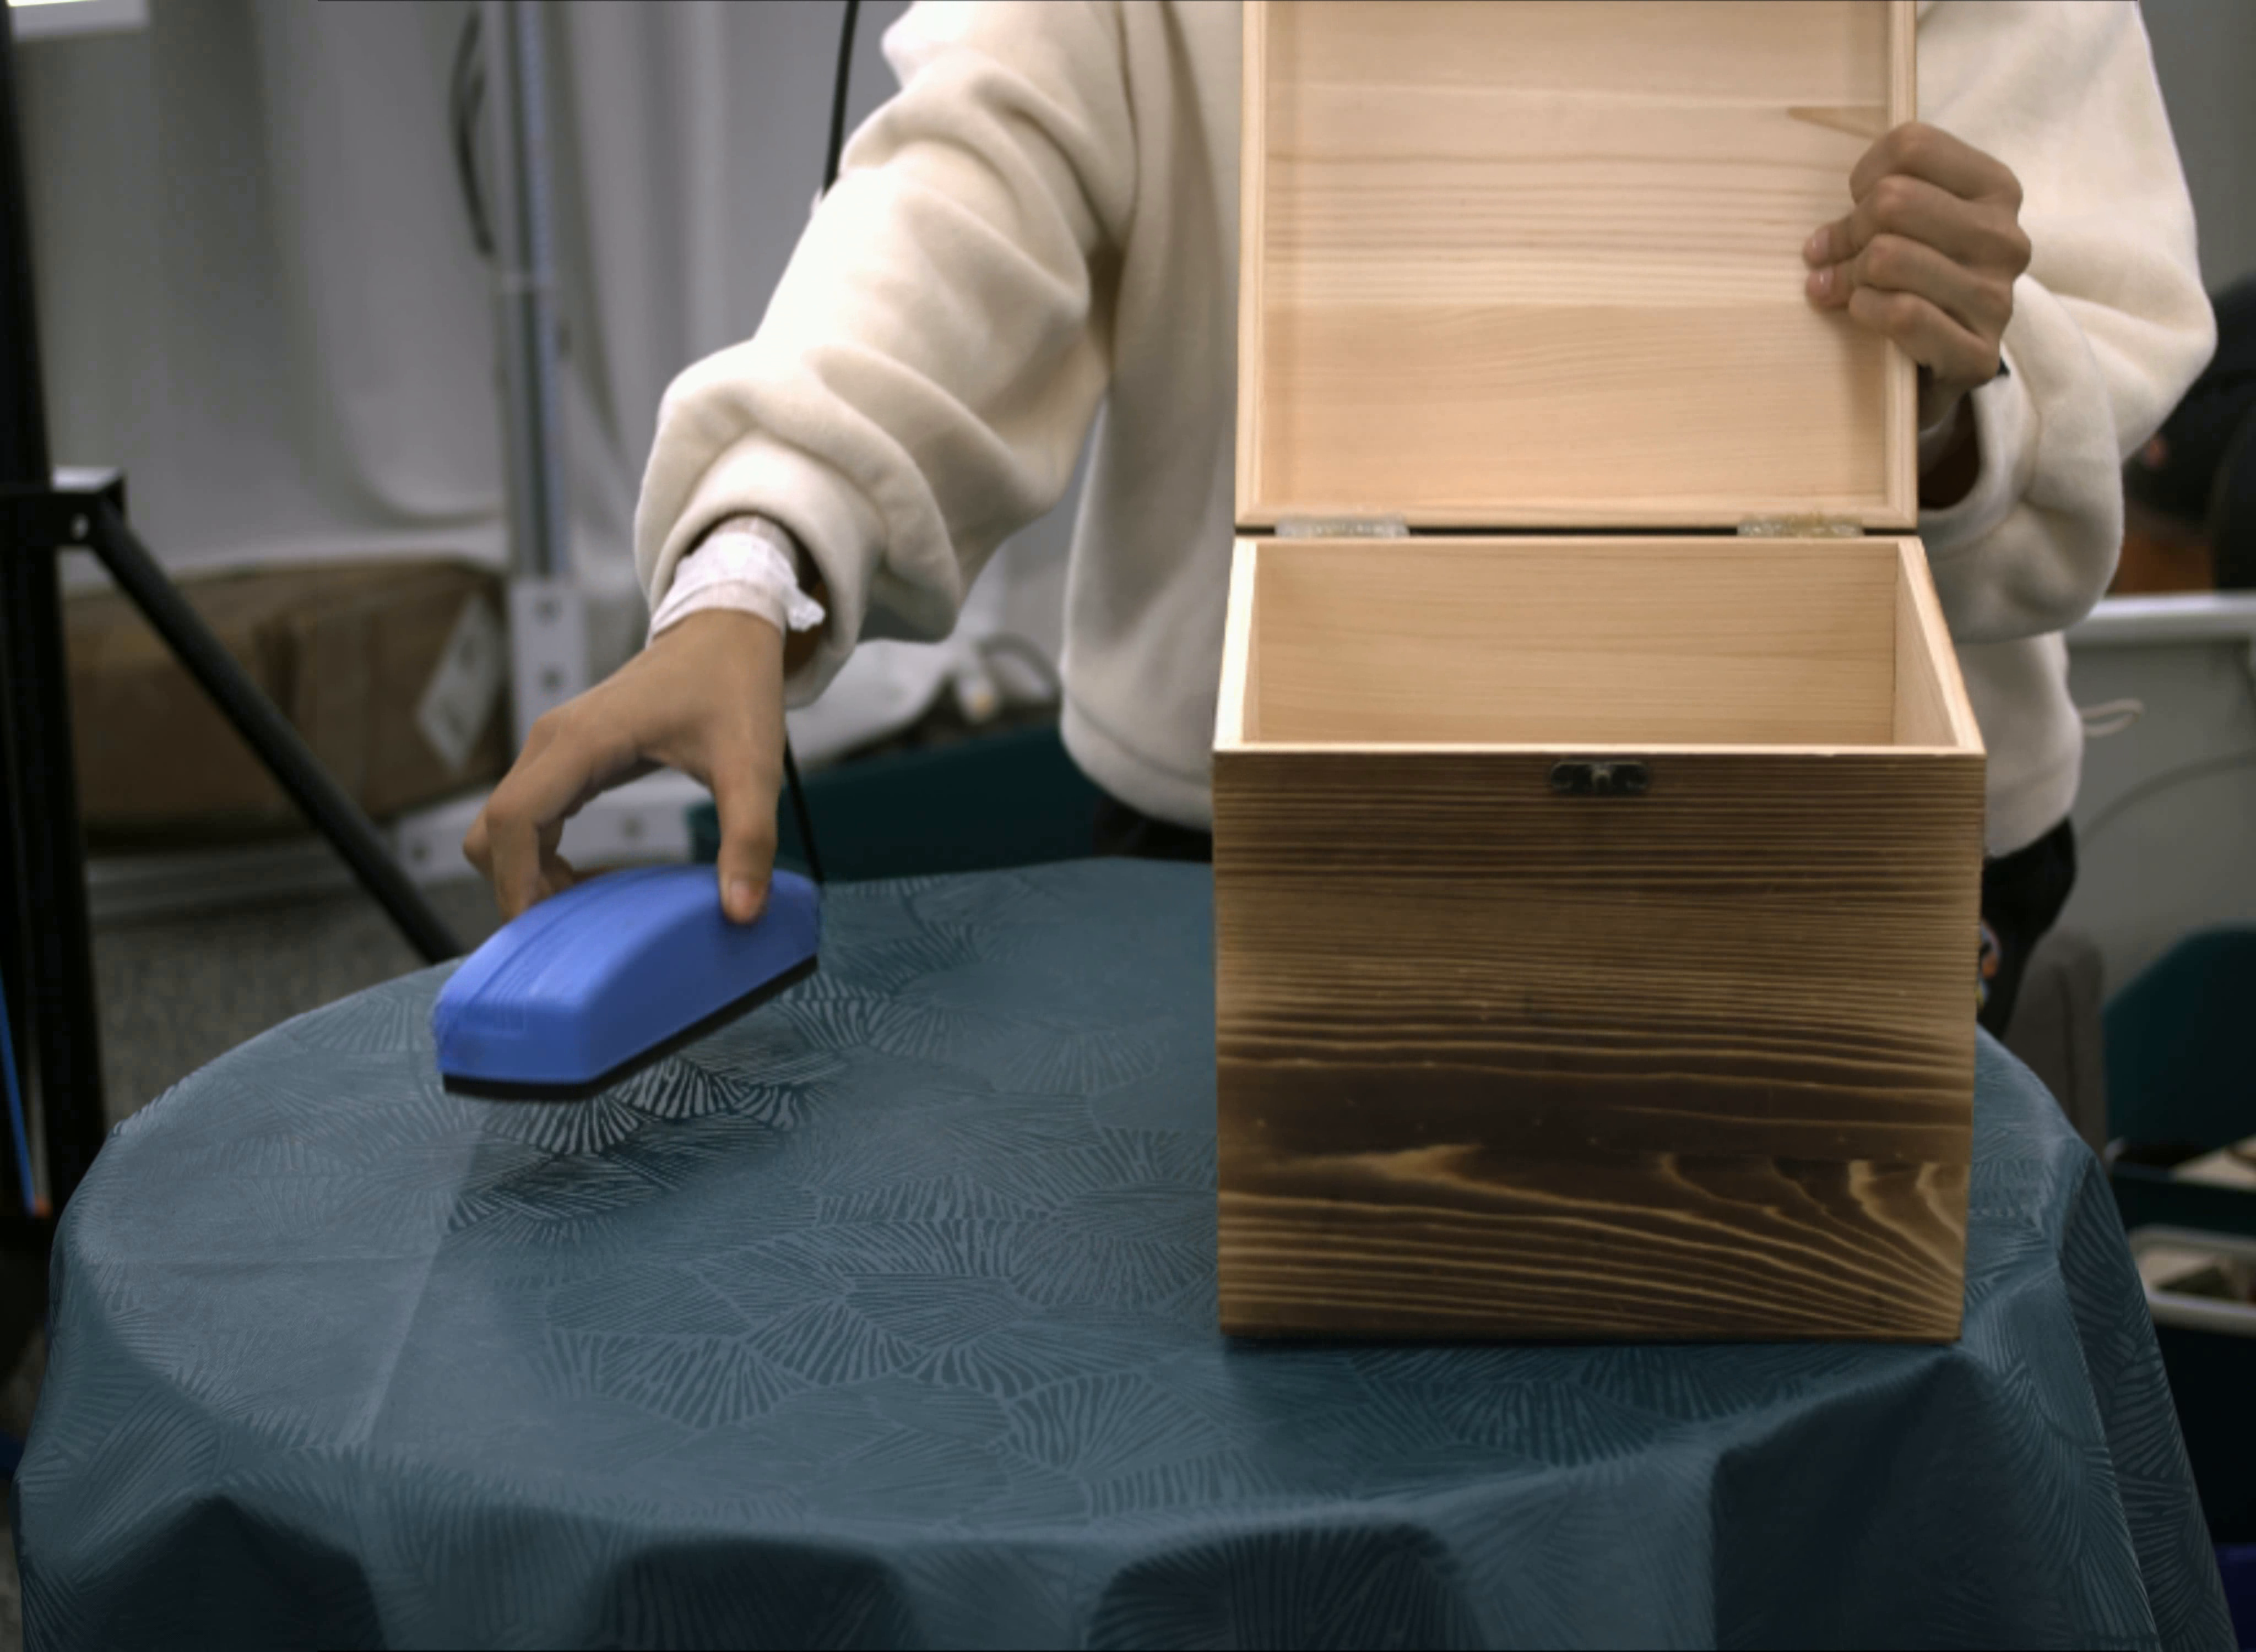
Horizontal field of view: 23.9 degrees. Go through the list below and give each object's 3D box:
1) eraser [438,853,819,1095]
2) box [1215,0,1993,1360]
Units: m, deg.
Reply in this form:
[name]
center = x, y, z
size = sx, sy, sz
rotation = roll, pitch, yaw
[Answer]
[eraser]
center = -0.151, 0.039, 1.631
size = 0.054, 0.047, 0.160
rotation = 2, 14, 24
[box]
center = 0.128, -0.081, 1.503
size = 0.208, 0.375, 0.323
rotation = 0, 18, 4
